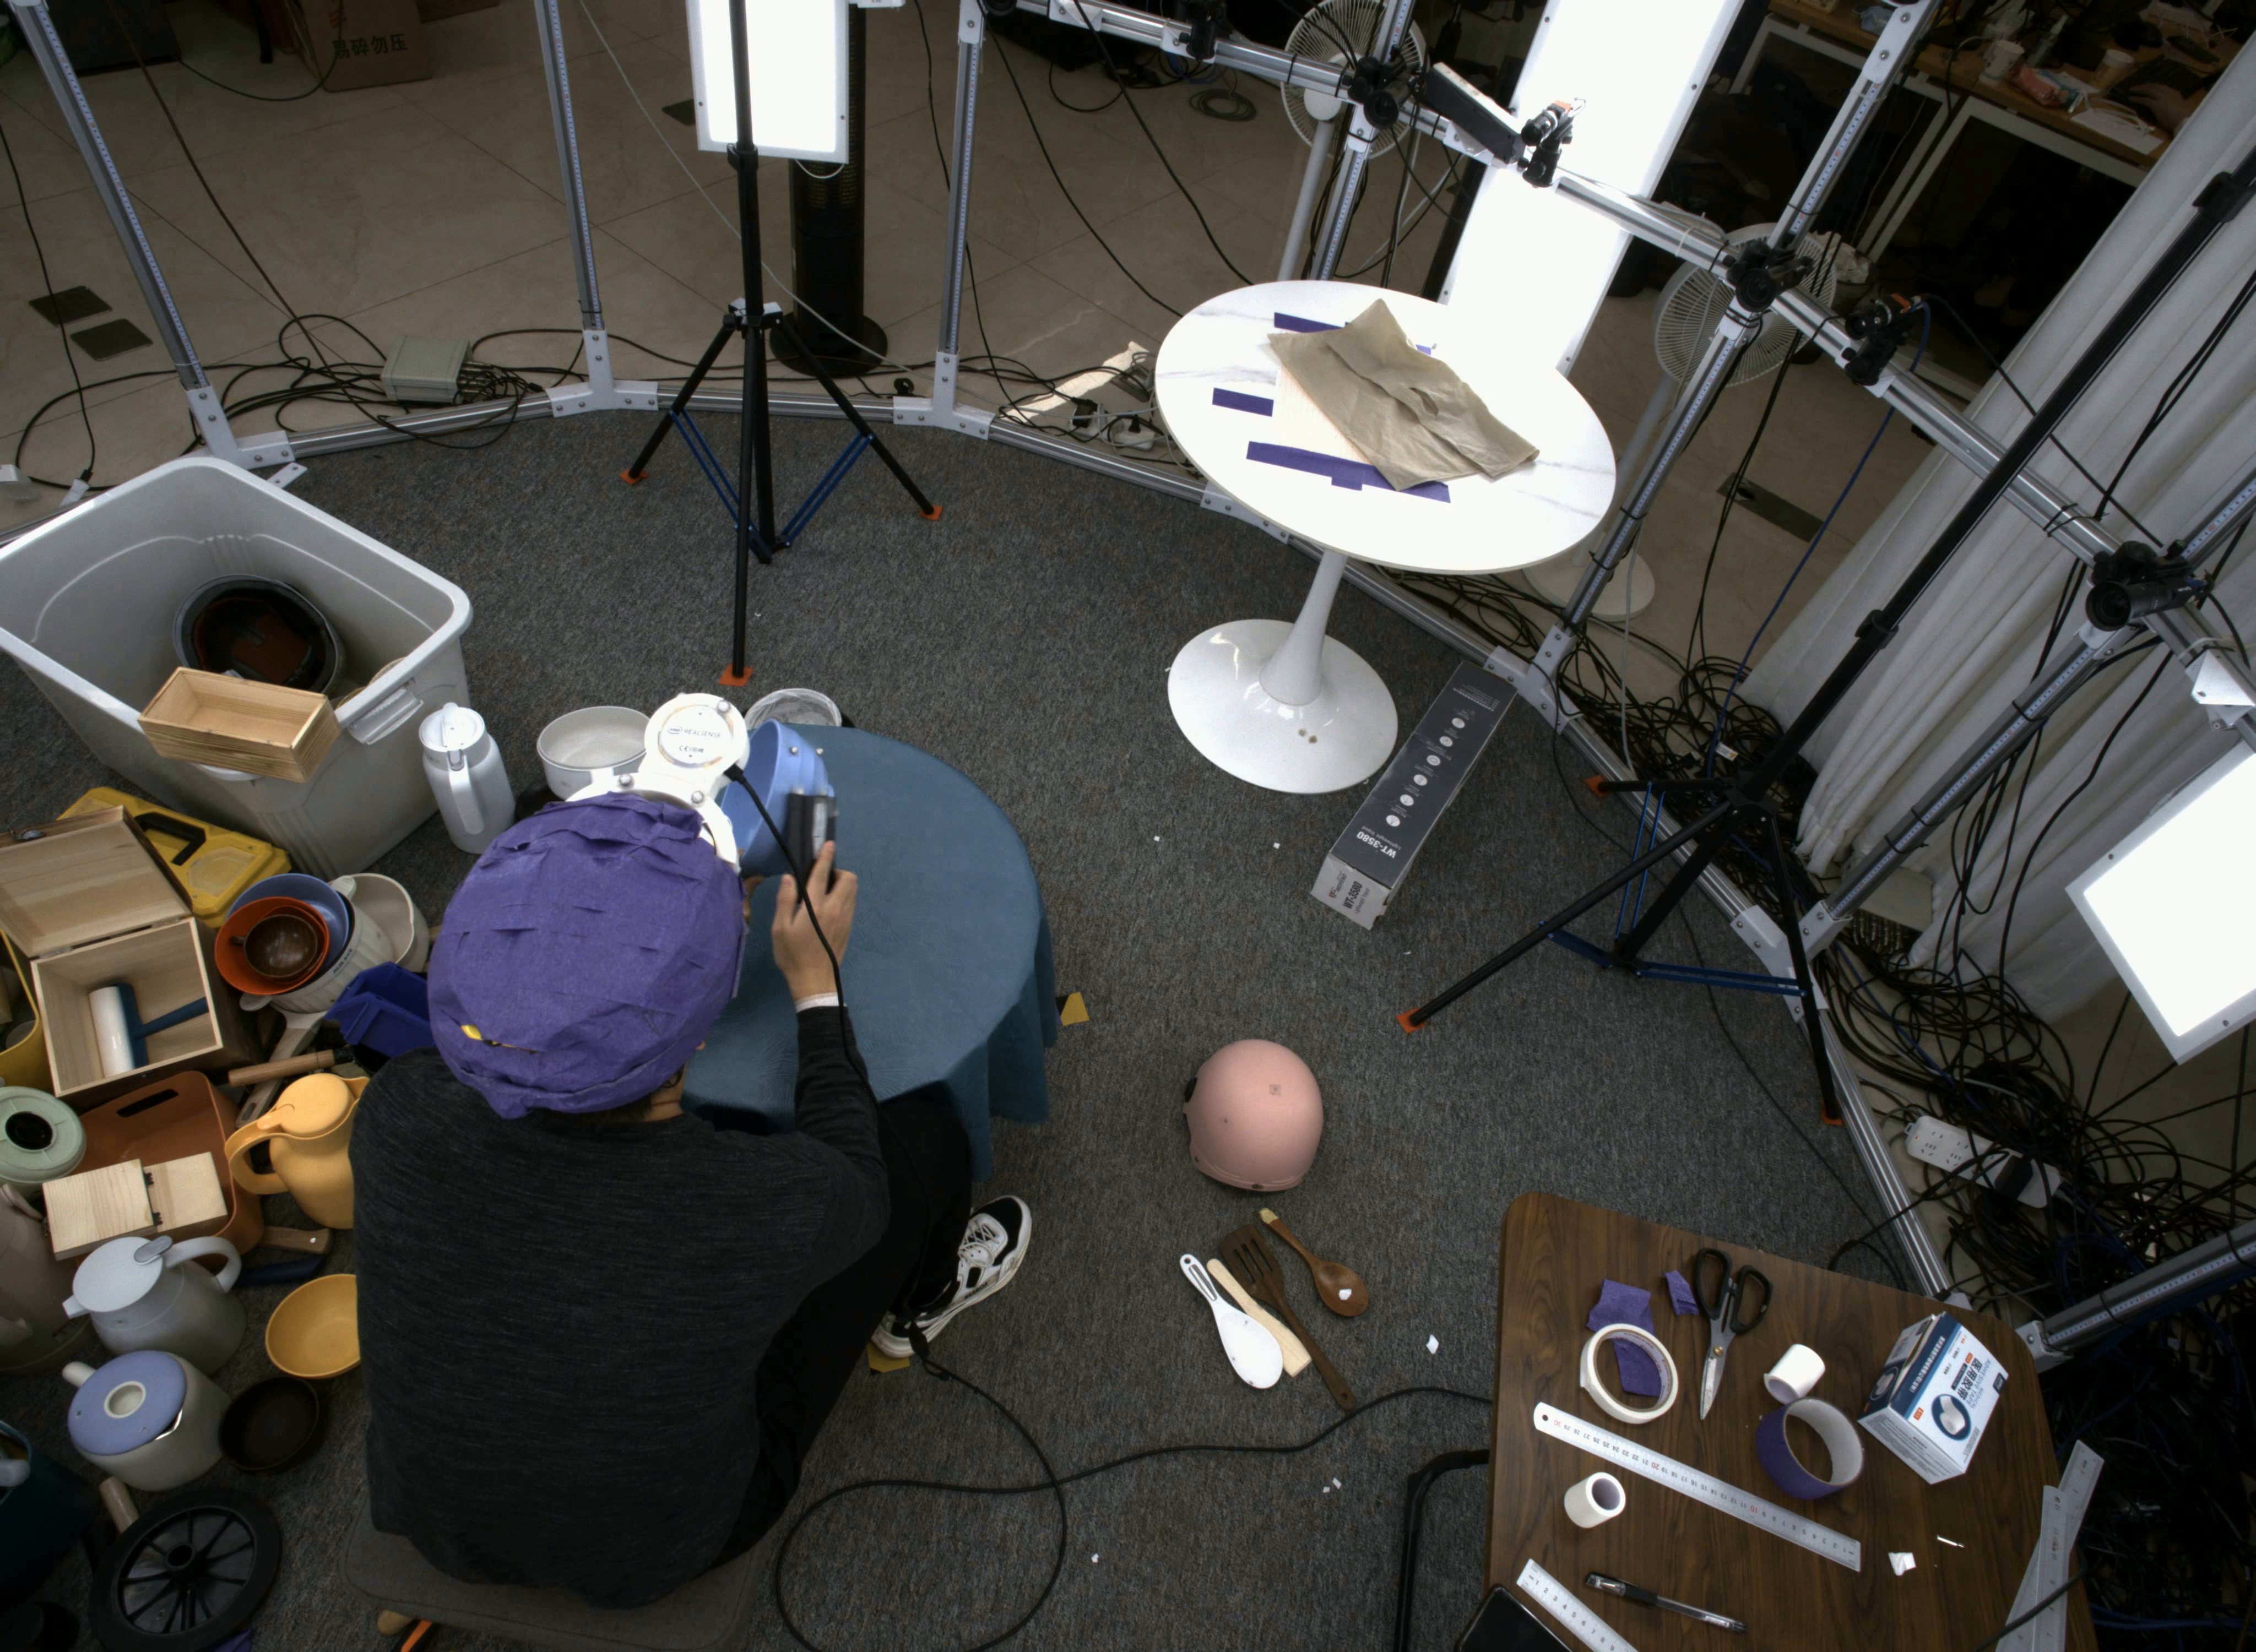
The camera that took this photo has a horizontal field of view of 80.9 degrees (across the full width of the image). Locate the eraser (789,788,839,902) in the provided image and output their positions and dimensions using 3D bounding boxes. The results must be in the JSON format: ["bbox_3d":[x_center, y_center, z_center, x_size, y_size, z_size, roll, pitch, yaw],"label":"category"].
[{"bbox_3d":[-0.354,0.020,1.458,0.029,0.127,0.054,2,3,36],"label":"eraser"}]

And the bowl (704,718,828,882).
[{"bbox_3d":[-0.417,-0.019,1.537,0.098,0.195,0.192,22,43,-37],"label":"bowl"}]
